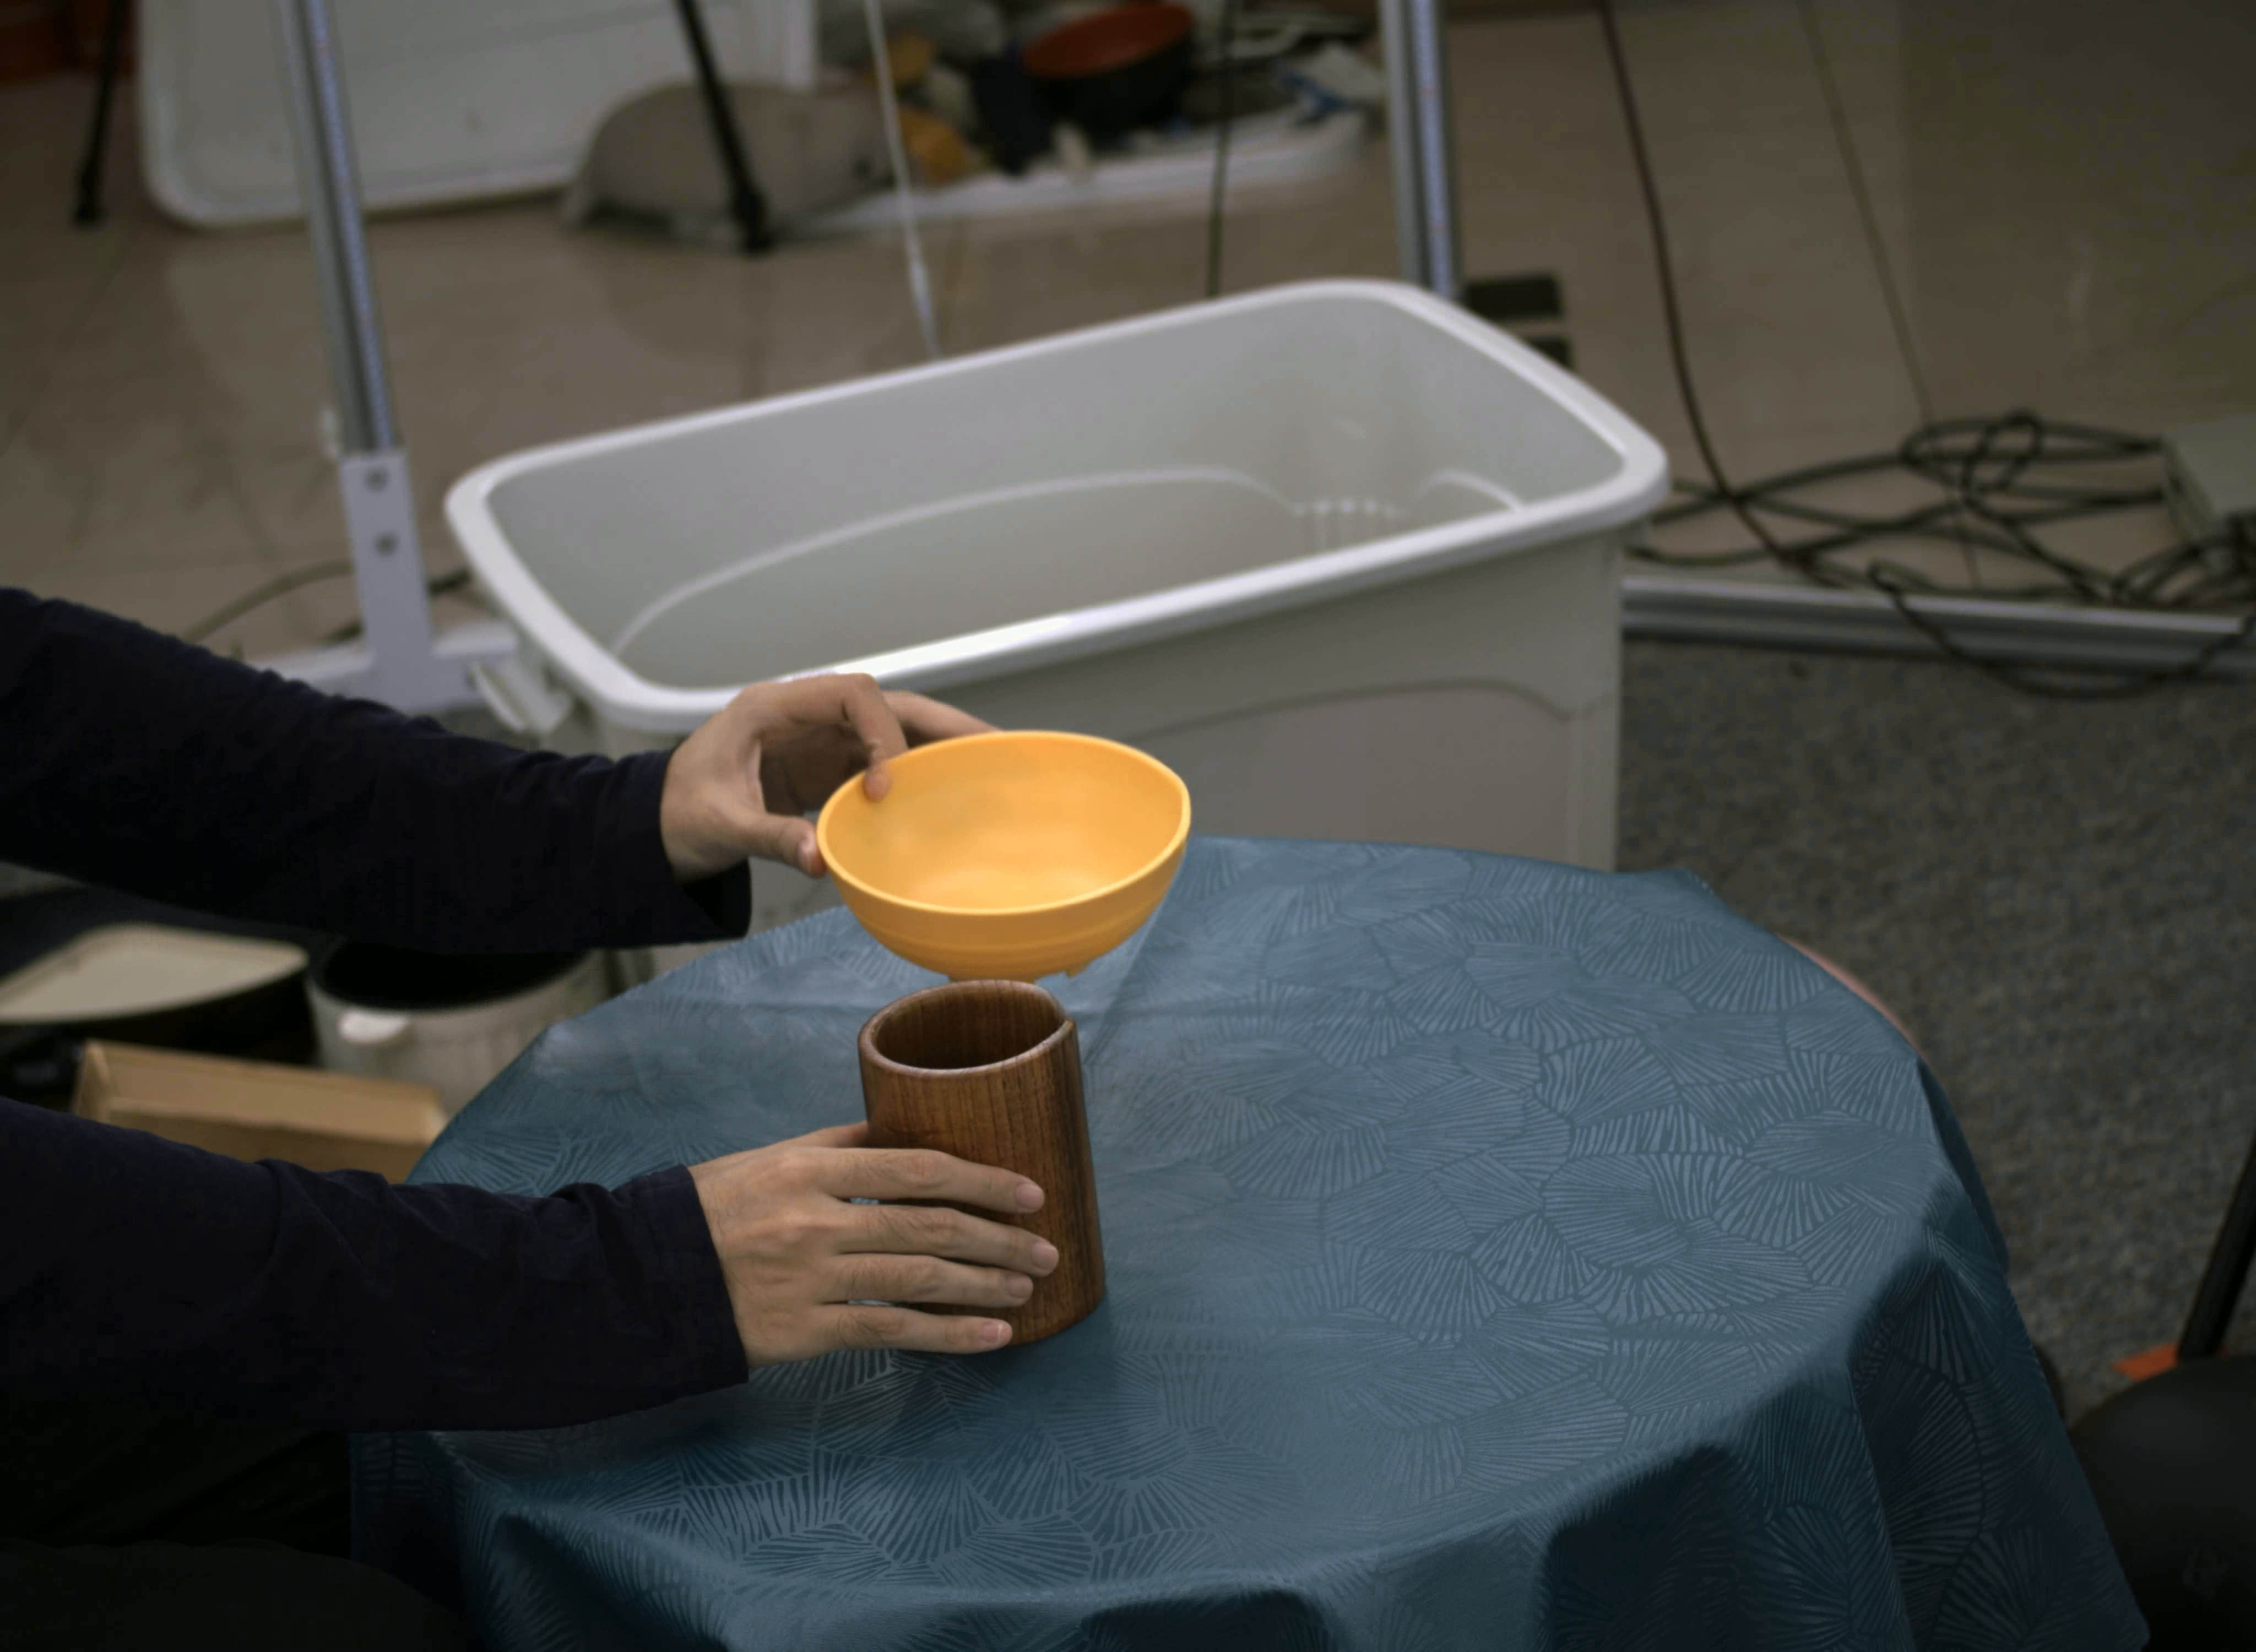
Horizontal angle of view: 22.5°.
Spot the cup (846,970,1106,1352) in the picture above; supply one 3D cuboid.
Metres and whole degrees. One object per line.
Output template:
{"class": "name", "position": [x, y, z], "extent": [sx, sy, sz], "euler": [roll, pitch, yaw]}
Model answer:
{"class": "cup", "position": [-0.054, 0.121, 2.057], "extent": [0.087, 0.120, 0.086], "euler": [-6, 22, 2]}

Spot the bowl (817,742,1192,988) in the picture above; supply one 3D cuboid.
{"class": "bowl", "position": [-0.045, 0.025, 2.170], "extent": [0.145, 0.061, 0.143], "euler": [-4, 28, 2]}
